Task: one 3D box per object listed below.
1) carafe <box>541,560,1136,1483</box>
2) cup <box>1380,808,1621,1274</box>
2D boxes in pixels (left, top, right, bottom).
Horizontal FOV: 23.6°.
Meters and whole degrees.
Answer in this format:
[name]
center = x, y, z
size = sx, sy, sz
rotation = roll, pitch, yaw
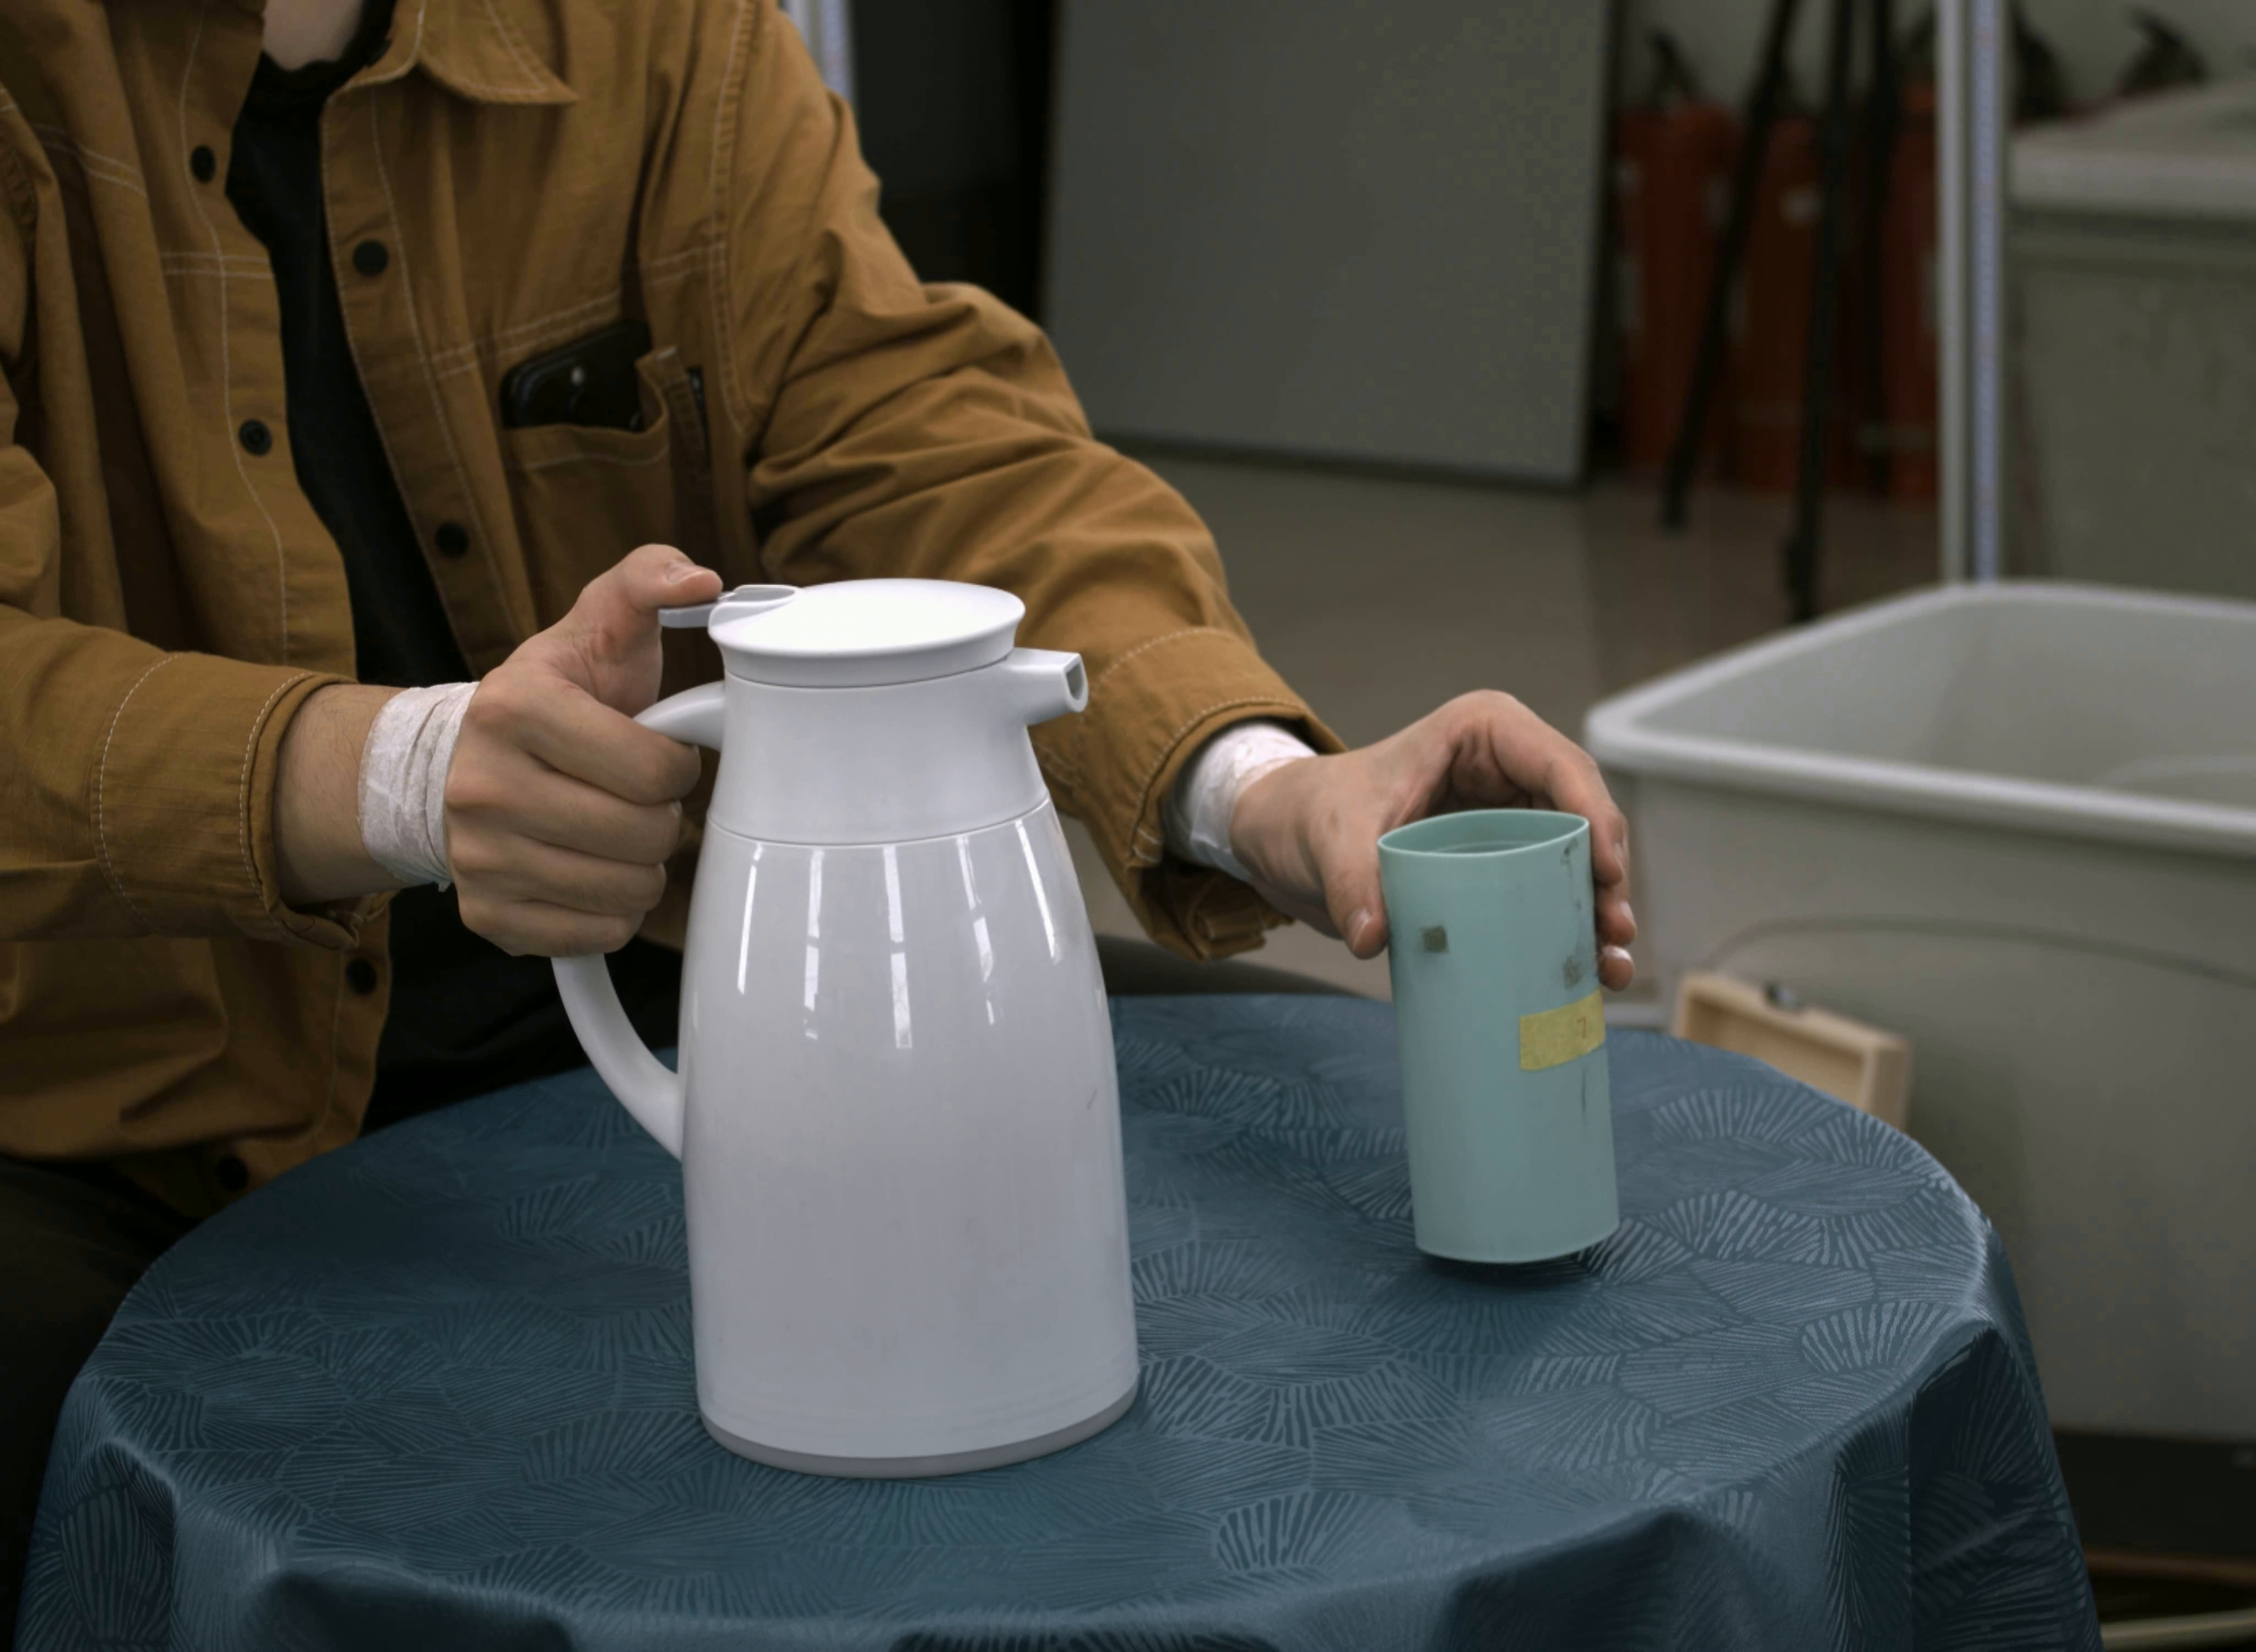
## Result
[carafe]
center = -0.088, 0.050, 1.570
size = 0.167, 0.251, 0.131
rotation = -1, 14, 16
[cup]
center = 0.115, 0.065, 1.667
size = 0.066, 0.134, 0.067
rotation = -6, 10, 0
